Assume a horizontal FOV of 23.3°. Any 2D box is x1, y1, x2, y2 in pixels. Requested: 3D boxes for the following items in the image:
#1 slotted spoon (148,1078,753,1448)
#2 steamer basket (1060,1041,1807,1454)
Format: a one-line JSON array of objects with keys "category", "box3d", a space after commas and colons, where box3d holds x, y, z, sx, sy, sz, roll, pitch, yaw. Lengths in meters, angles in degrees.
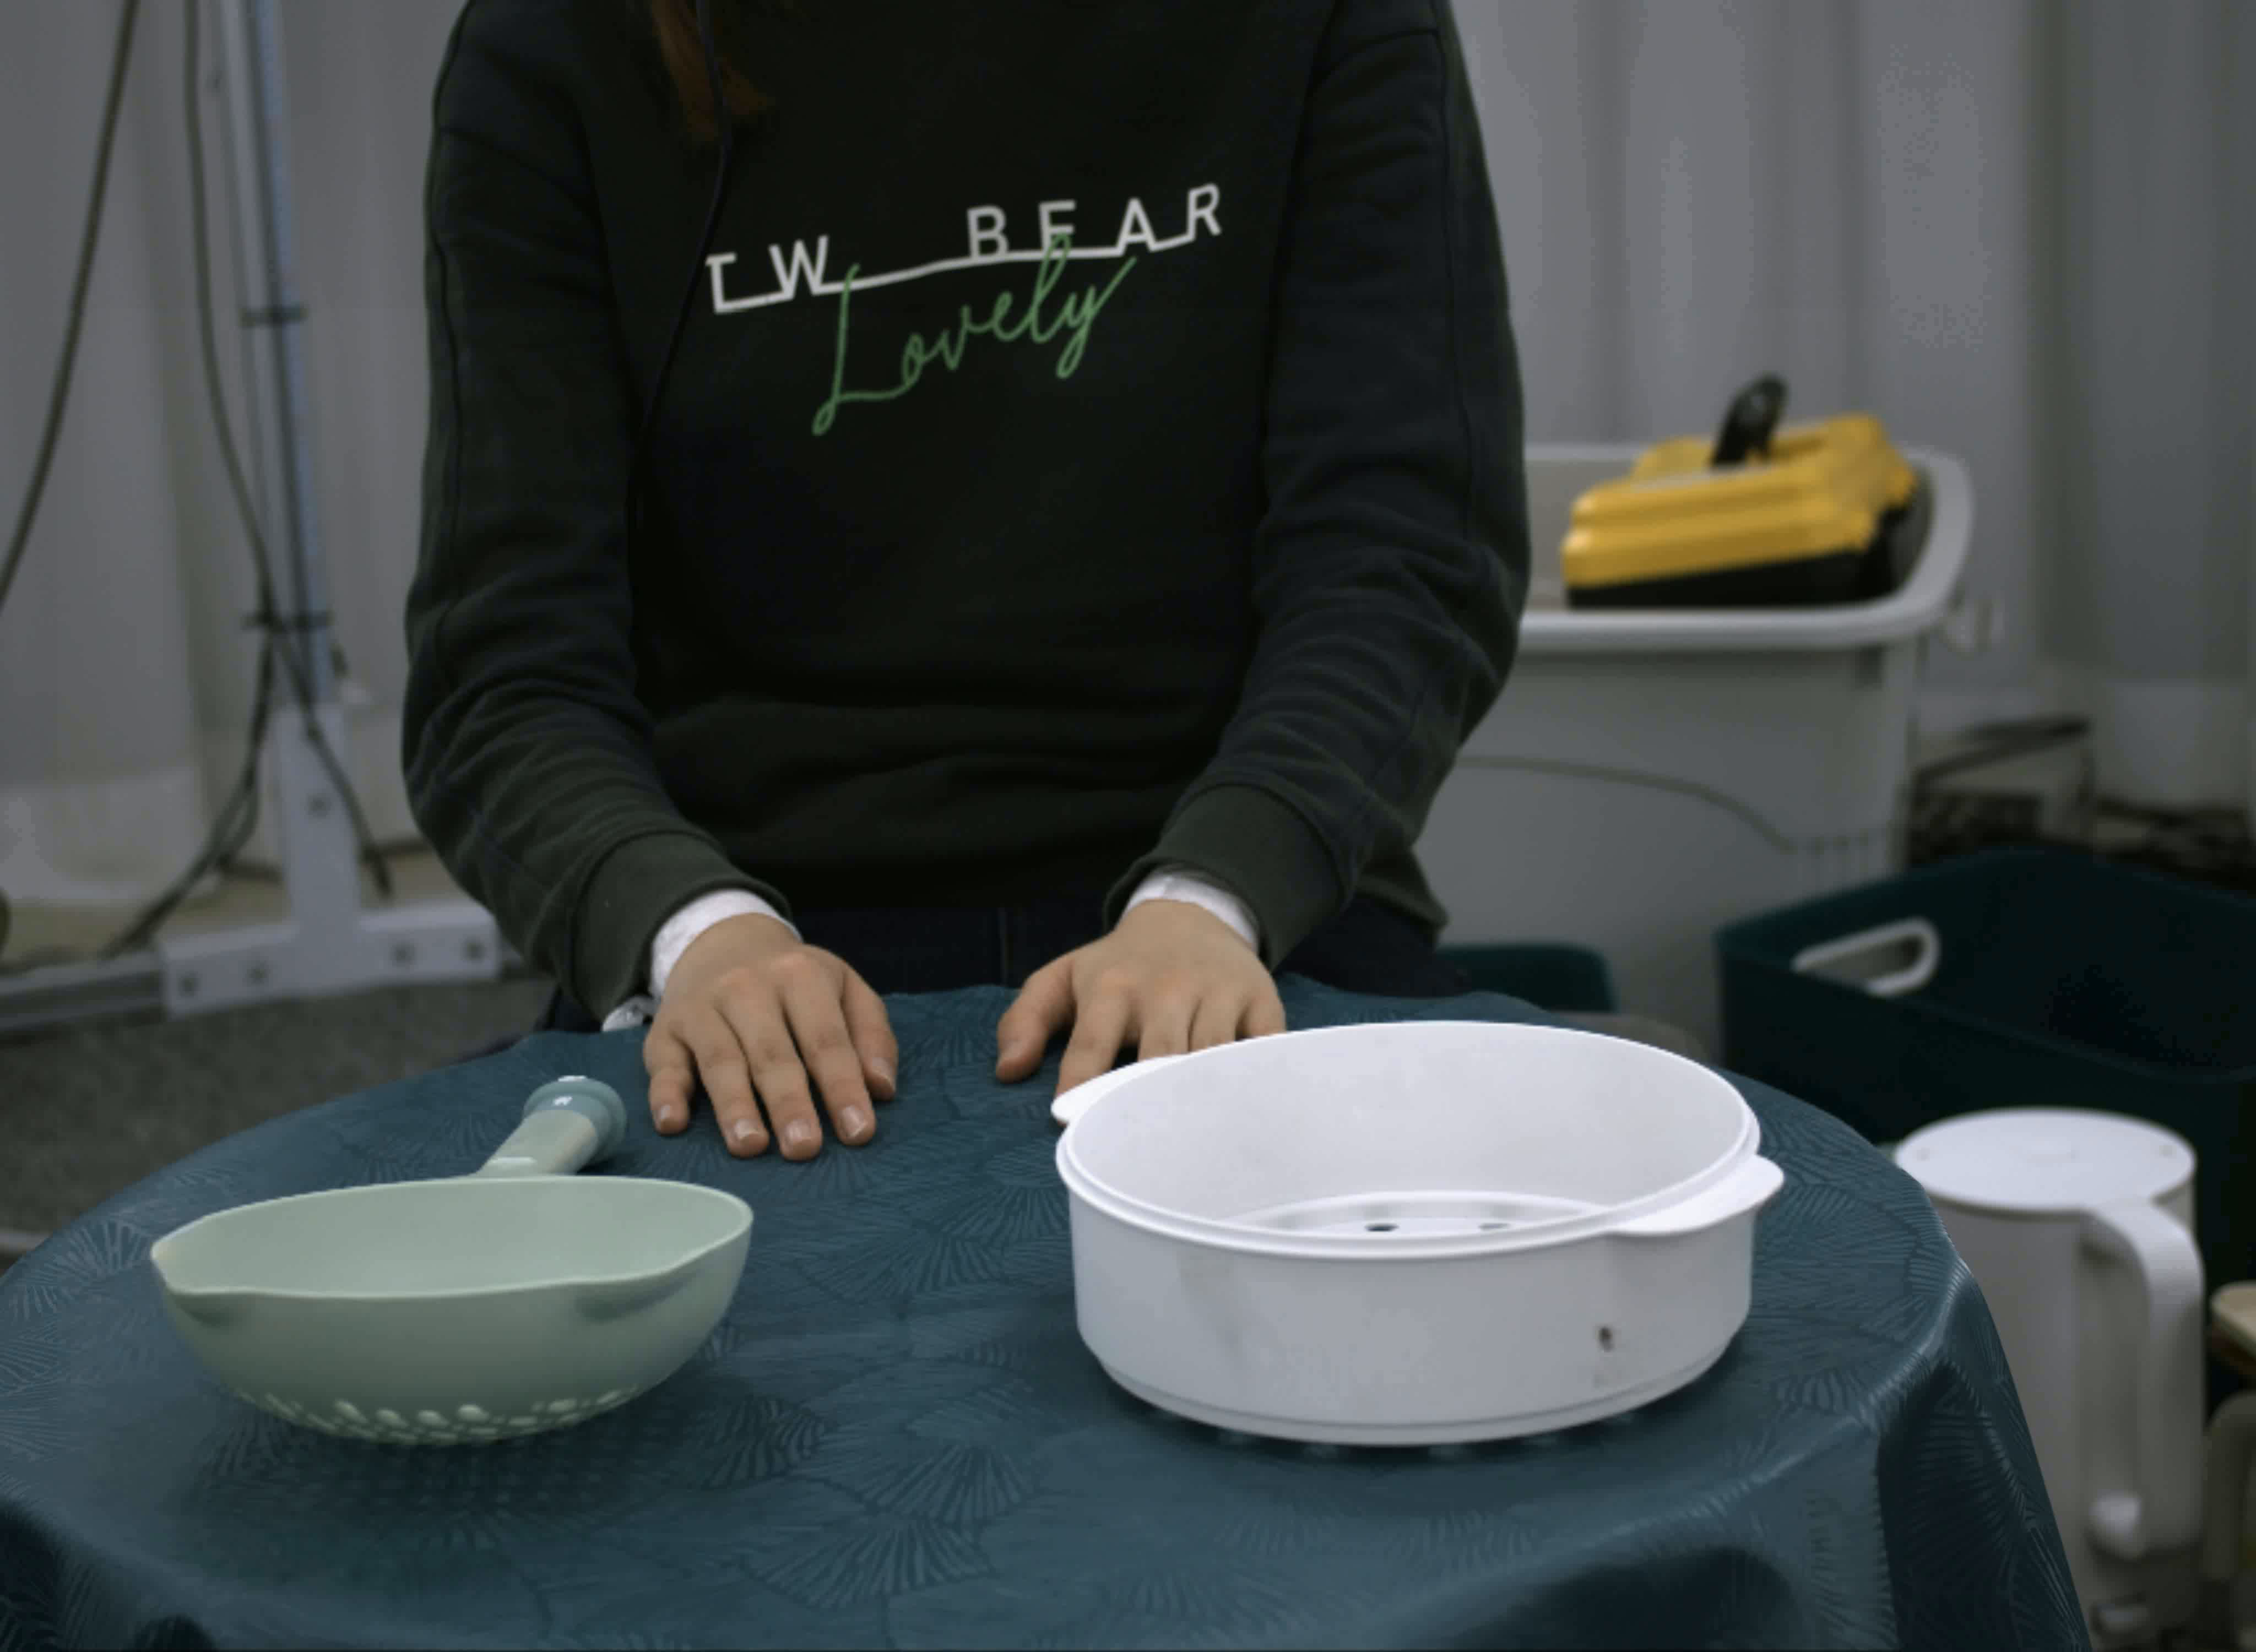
[{"category": "slotted spoon", "box3d": [-0.184, 0.114, 1.628, 0.169, 0.075, 0.361, -1, 15, 3]}, {"category": "steamer basket", "box3d": [0.085, 0.119, 1.559, 0.231, 0.069, 0.201, 8, 17, 37]}]
